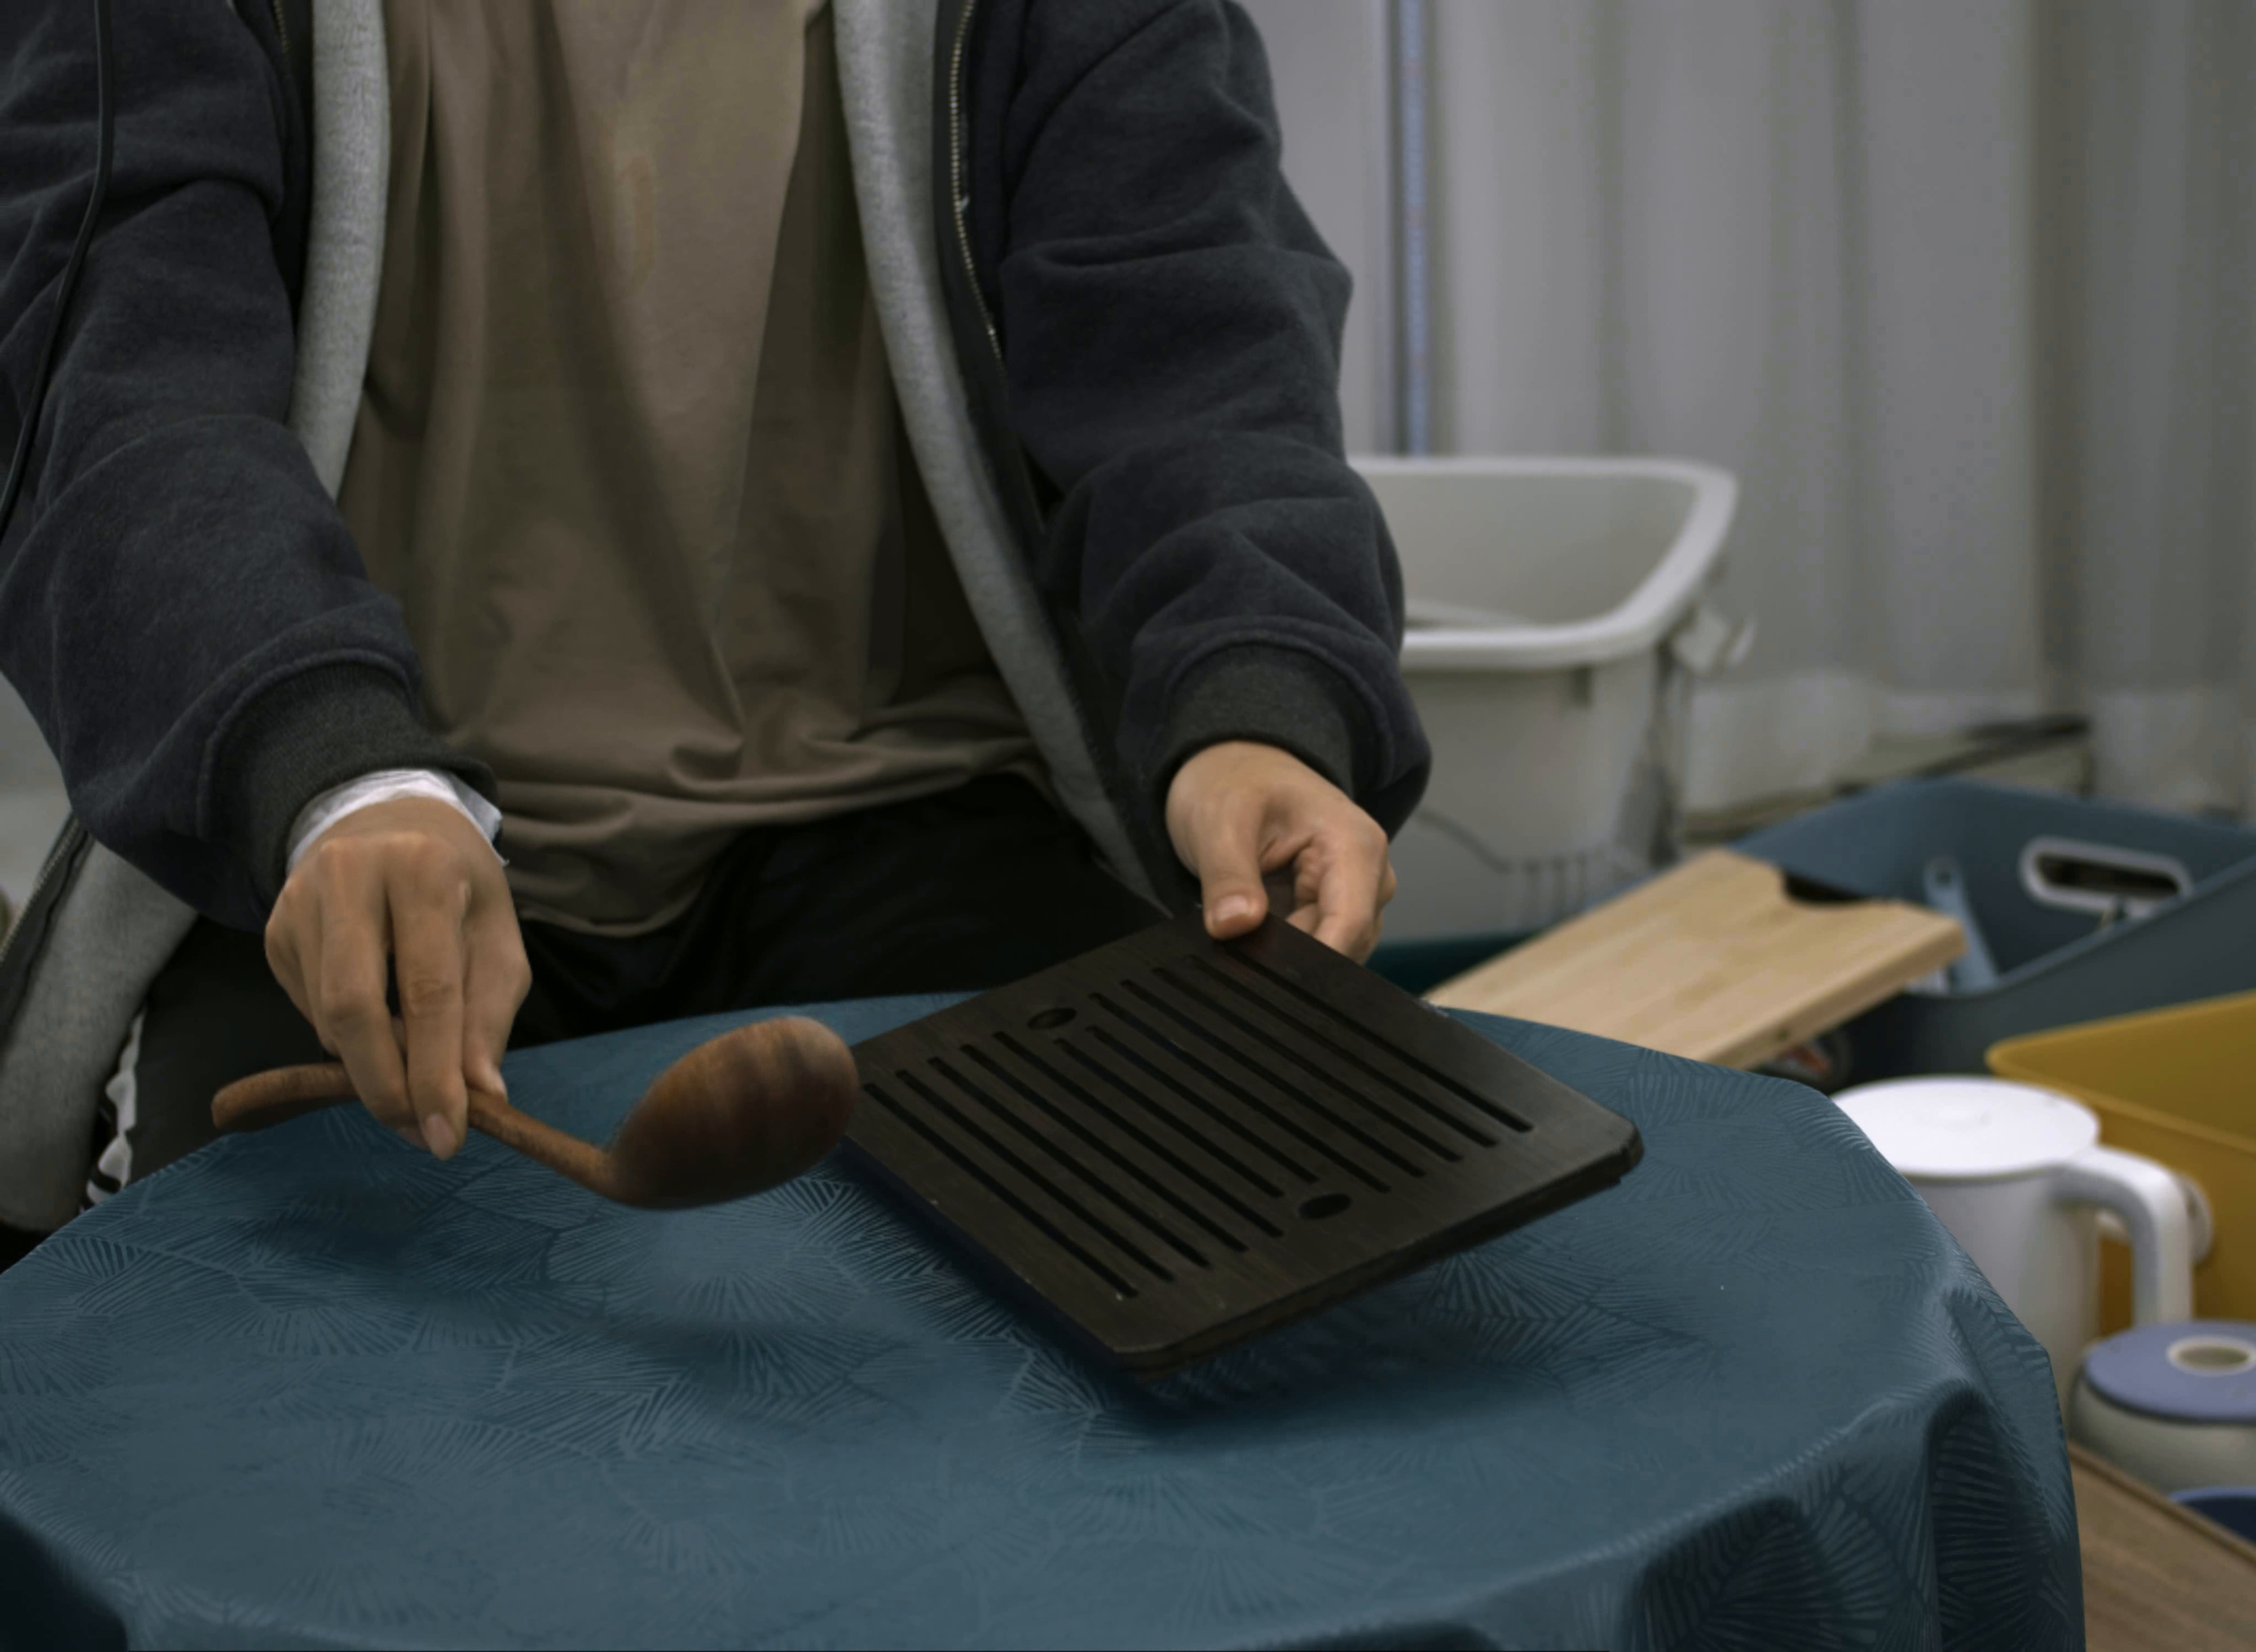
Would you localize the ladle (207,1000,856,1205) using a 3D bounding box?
[{"bbox_3d":[-0.187,0.074,1.656,0.261,0.065,0.076,6,-7,42],"label":"ladle"}]

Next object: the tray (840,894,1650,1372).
[{"bbox_3d":[0.021,0.089,1.665,0.170,0.018,0.308,-21,19,-17],"label":"tray"}]
